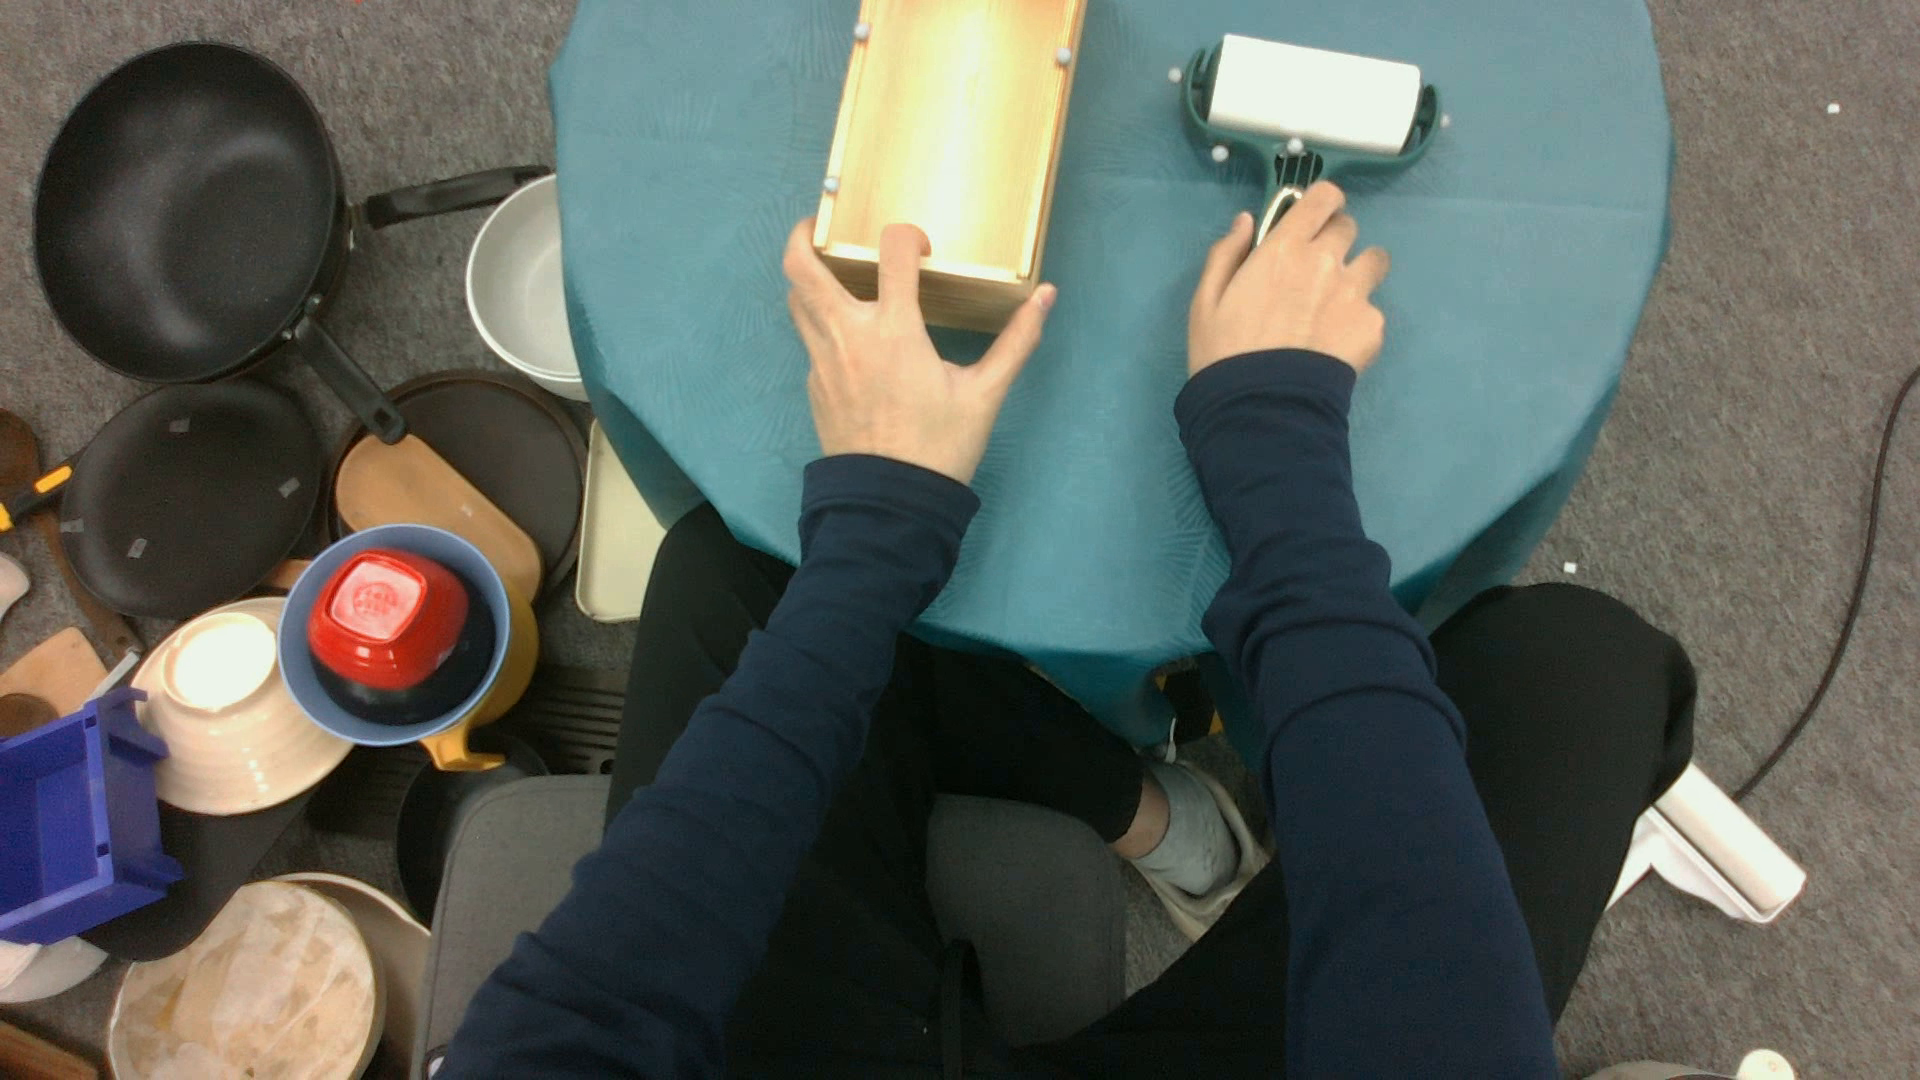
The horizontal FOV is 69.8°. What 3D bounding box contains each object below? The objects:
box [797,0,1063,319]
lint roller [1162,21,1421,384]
[{"bbox_3d":[-0.008,-0.232,0.704,0.107,0.080,0.212,8,80,2],"label":"box"},{"bbox_3d":[0.158,-0.172,0.708,0.134,0.048,0.180,11,82,3],"label":"lint roller"}]
